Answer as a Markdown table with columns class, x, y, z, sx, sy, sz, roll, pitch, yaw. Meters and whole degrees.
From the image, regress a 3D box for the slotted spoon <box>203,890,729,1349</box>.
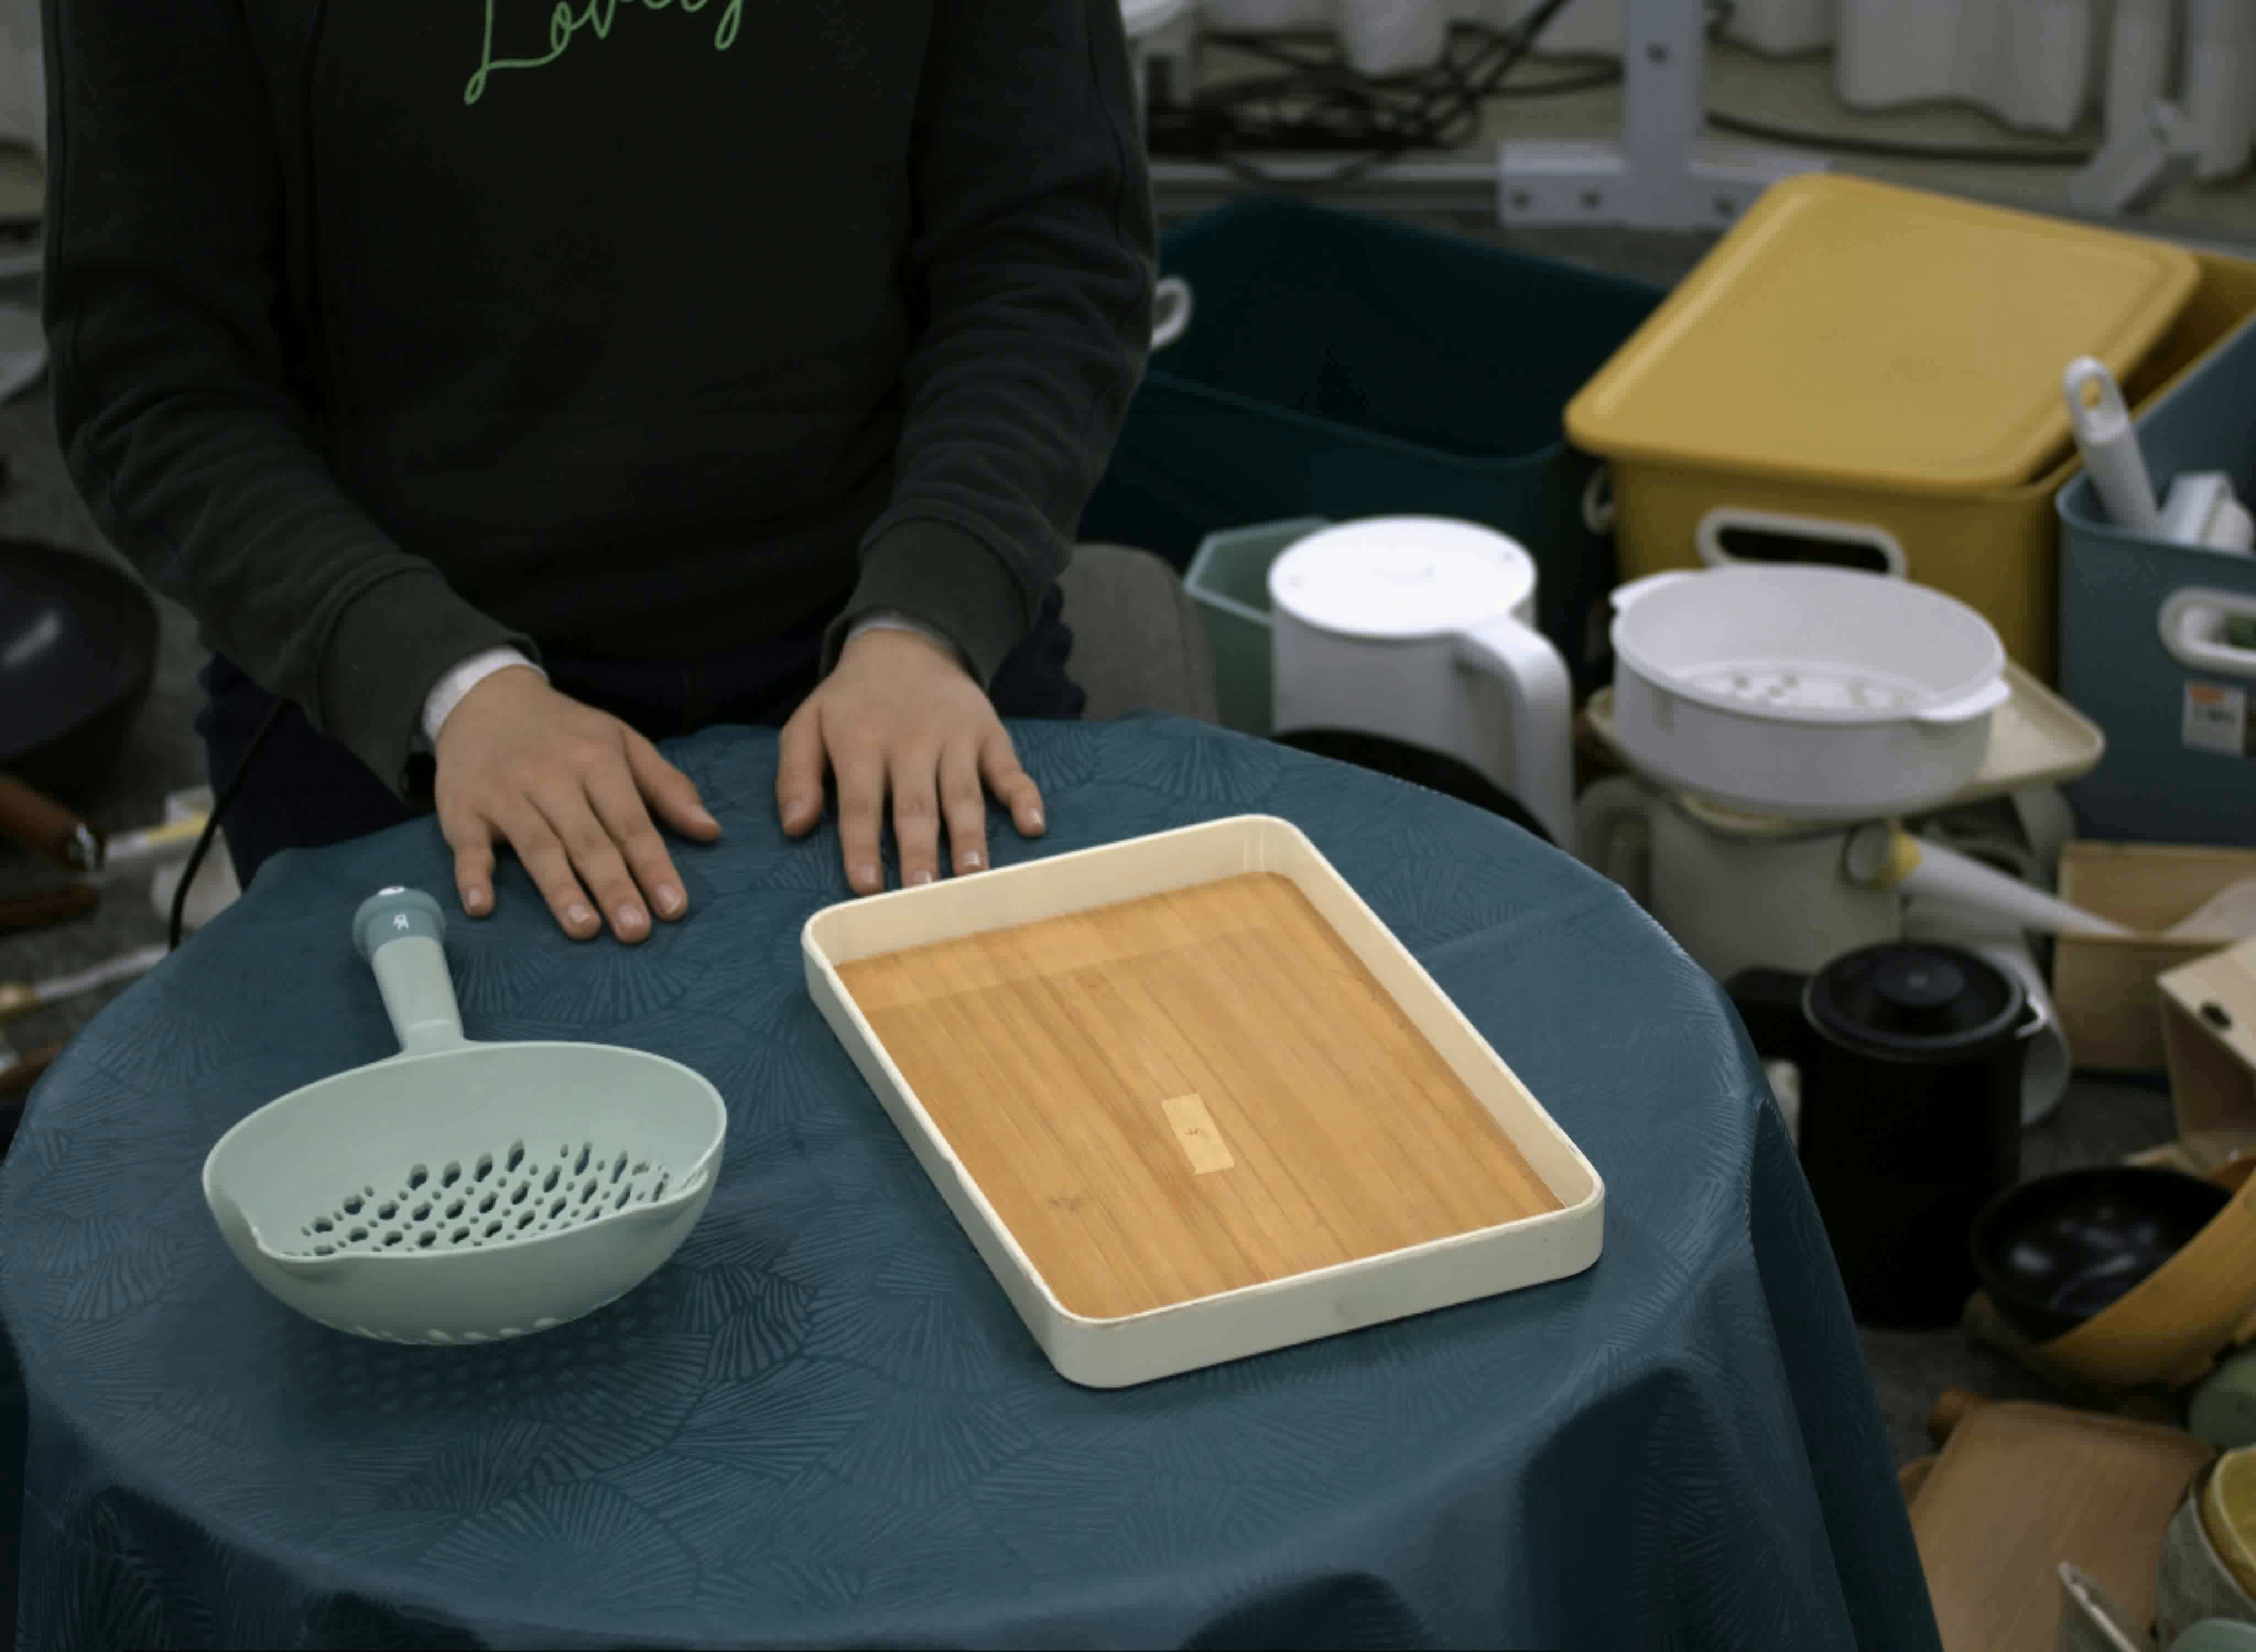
| class | x | y | z | sx | sy | sz | roll | pitch | yaw |
| --- | --- | --- | --- | --- | --- | --- | --- | --- | --- |
| slotted spoon | -0.231 | 0.083 | 1.890 | 0.169 | 0.074 | 0.363 | -8 | 28 | -10 |

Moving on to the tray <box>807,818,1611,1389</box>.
| class | x | y | z | sx | sy | sz | roll | pitch | yaw |
| --- | --- | --- | --- | --- | --- | --- | --- | --- | --- |
| tray | 0.021 | 0.088 | 1.897 | 0.192 | 0.027 | 0.303 | -12 | 29 | -16 |
